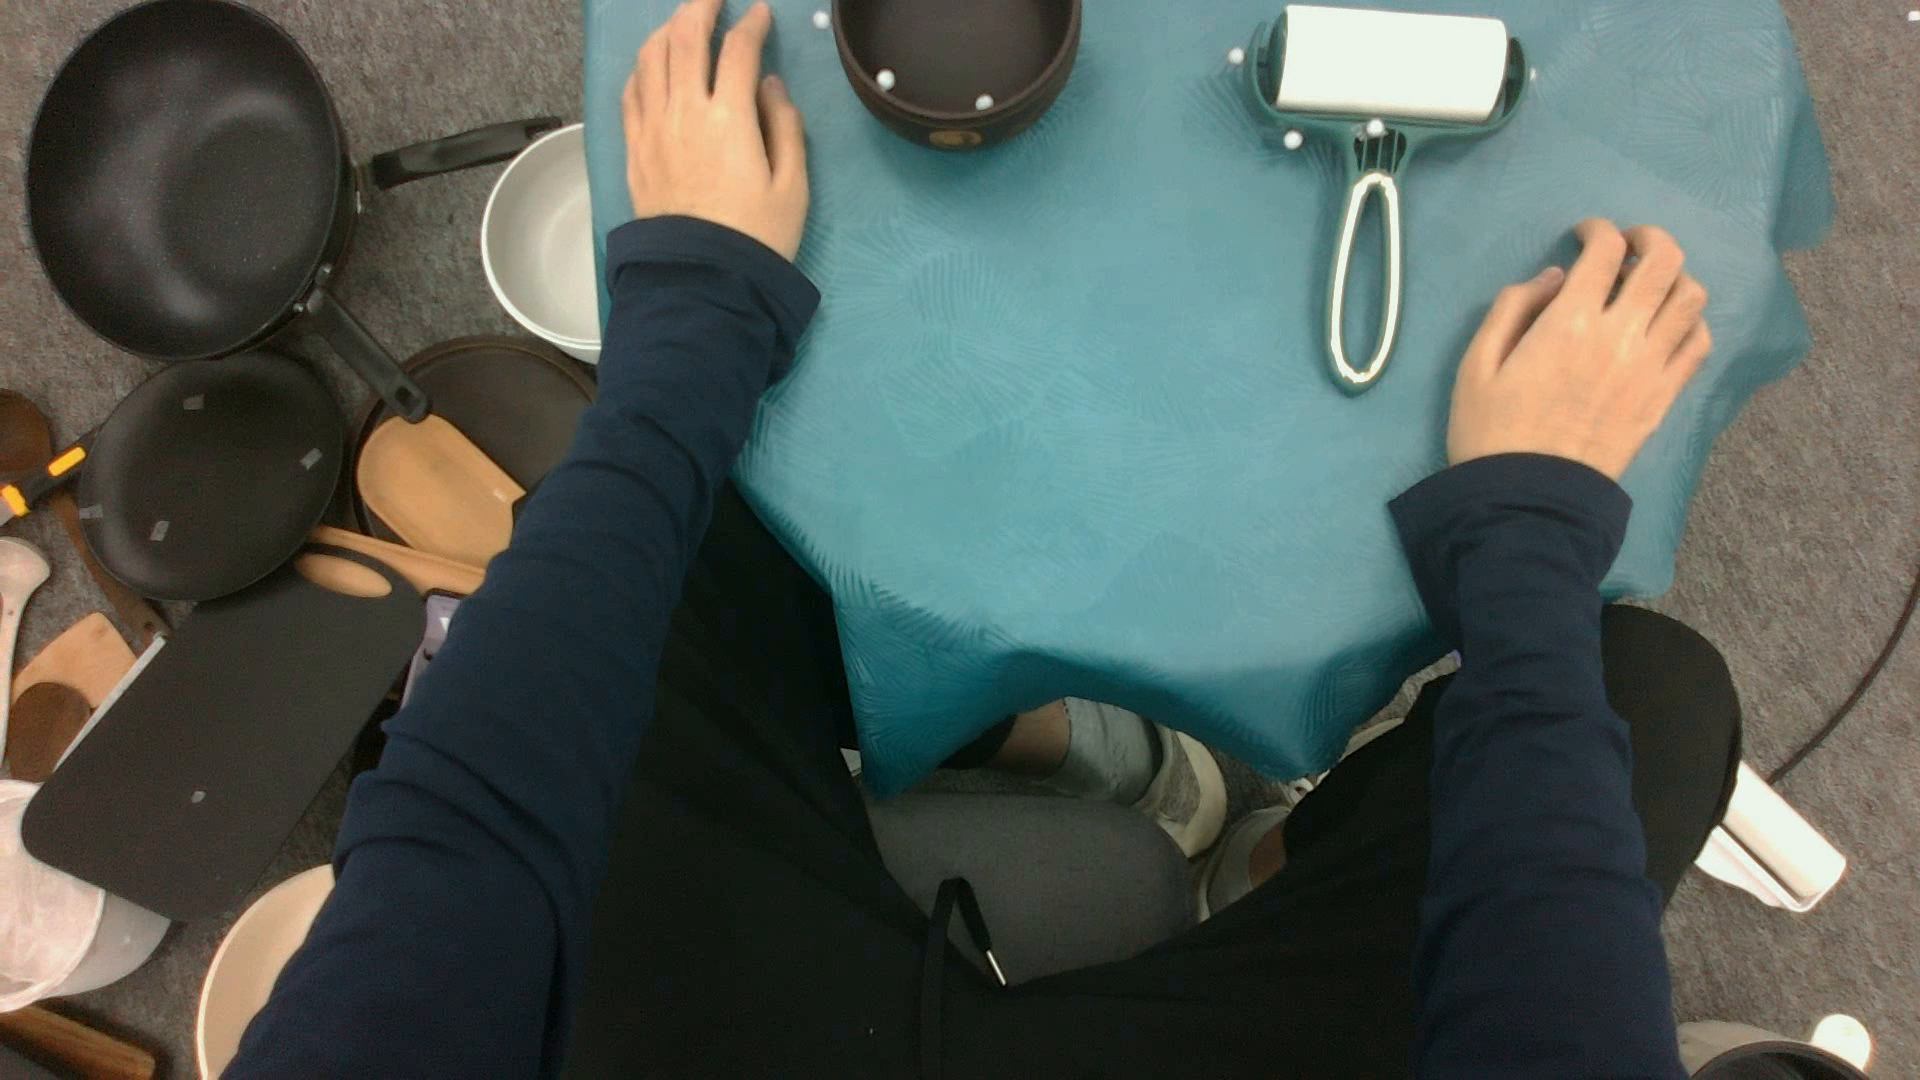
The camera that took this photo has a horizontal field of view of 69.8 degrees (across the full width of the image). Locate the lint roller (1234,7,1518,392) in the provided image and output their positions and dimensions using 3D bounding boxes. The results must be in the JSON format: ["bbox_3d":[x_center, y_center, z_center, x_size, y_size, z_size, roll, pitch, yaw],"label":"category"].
[{"bbox_3d":[0.193,-0.164,0.659,0.134,0.048,0.180,5,84,2],"label":"lint roller"}]

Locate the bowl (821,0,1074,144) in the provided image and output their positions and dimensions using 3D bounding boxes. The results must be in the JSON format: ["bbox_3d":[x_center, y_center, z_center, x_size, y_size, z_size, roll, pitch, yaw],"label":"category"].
[{"bbox_3d":[-0.005,-0.245,0.660,0.118,0.070,0.118,0,84,1],"label":"bowl"}]
